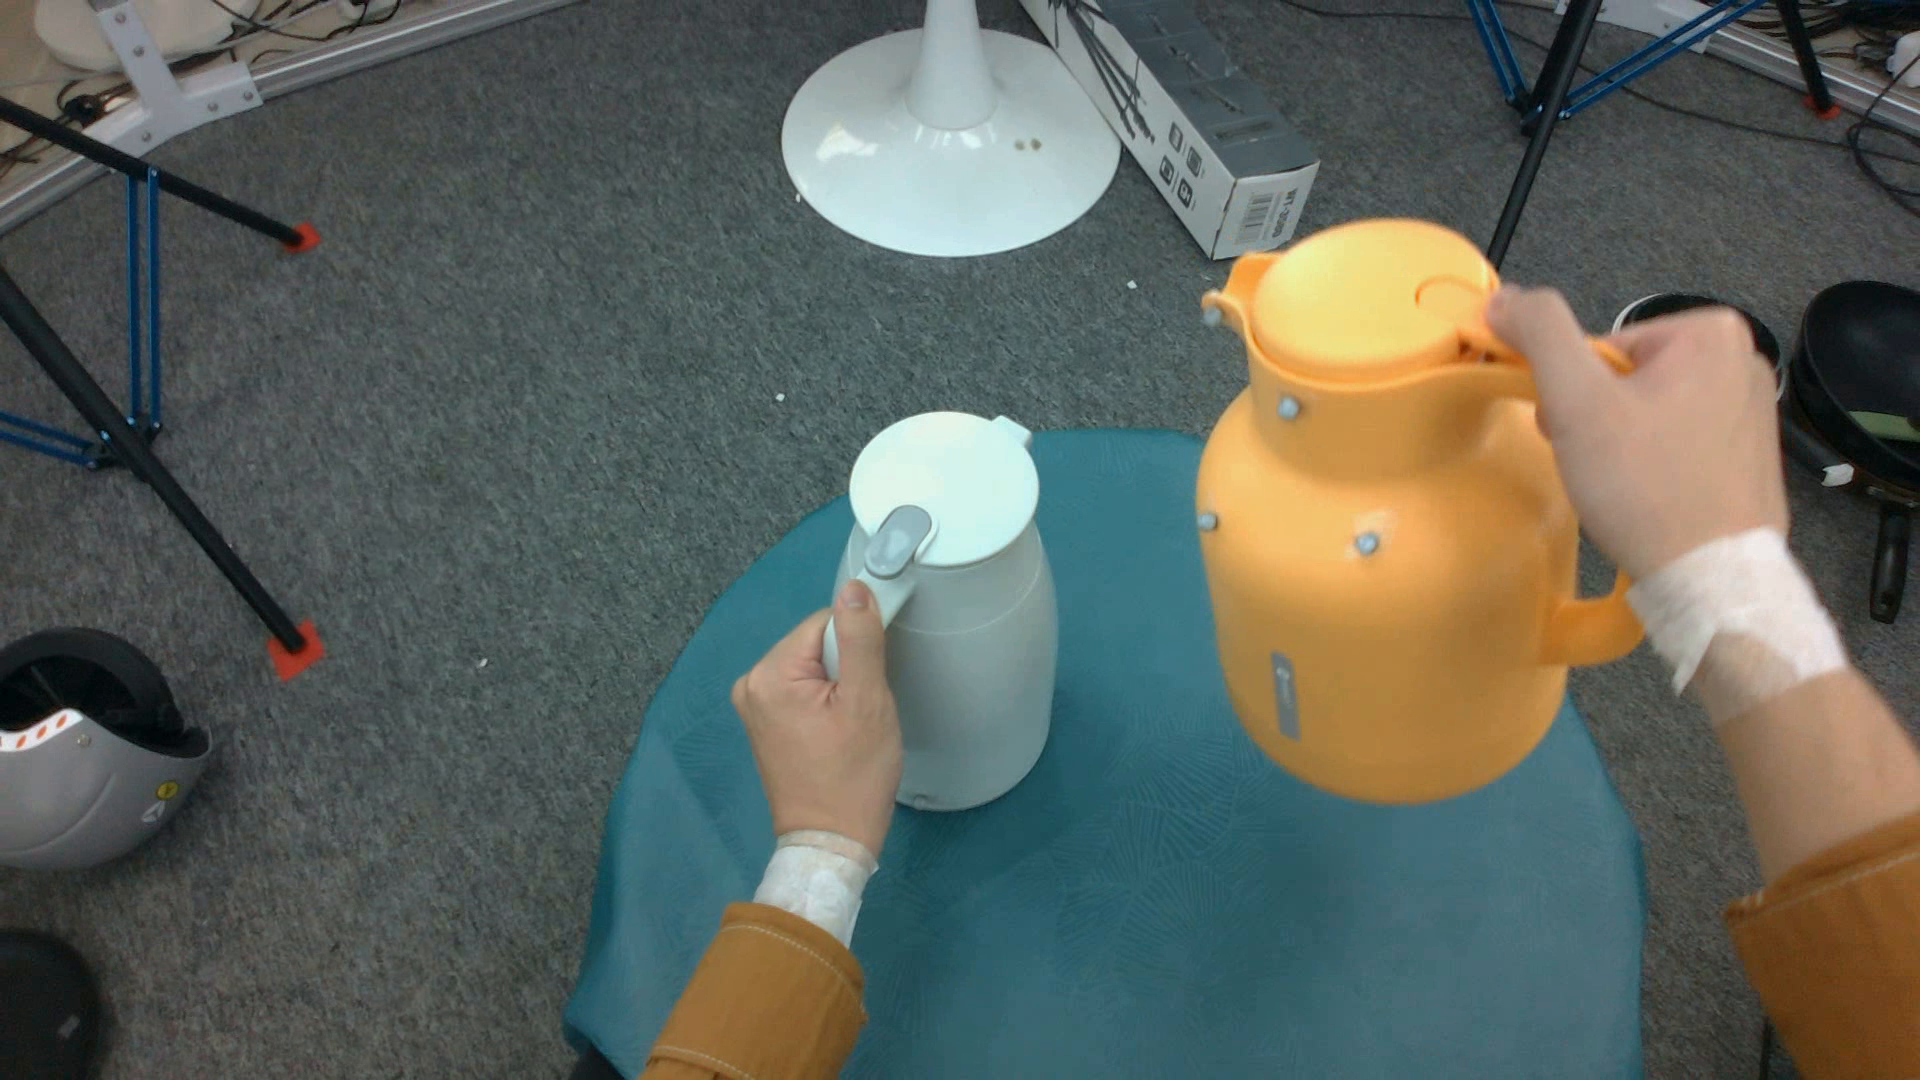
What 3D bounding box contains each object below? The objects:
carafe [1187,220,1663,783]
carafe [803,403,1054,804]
[{"bbox_3d":[0.199,-0.009,0.611,0.202,0.259,0.164,24,61,38],"label":"carafe"},{"bbox_3d":[-0.022,0.048,0.745,0.132,0.247,0.168,29,61,18],"label":"carafe"}]
